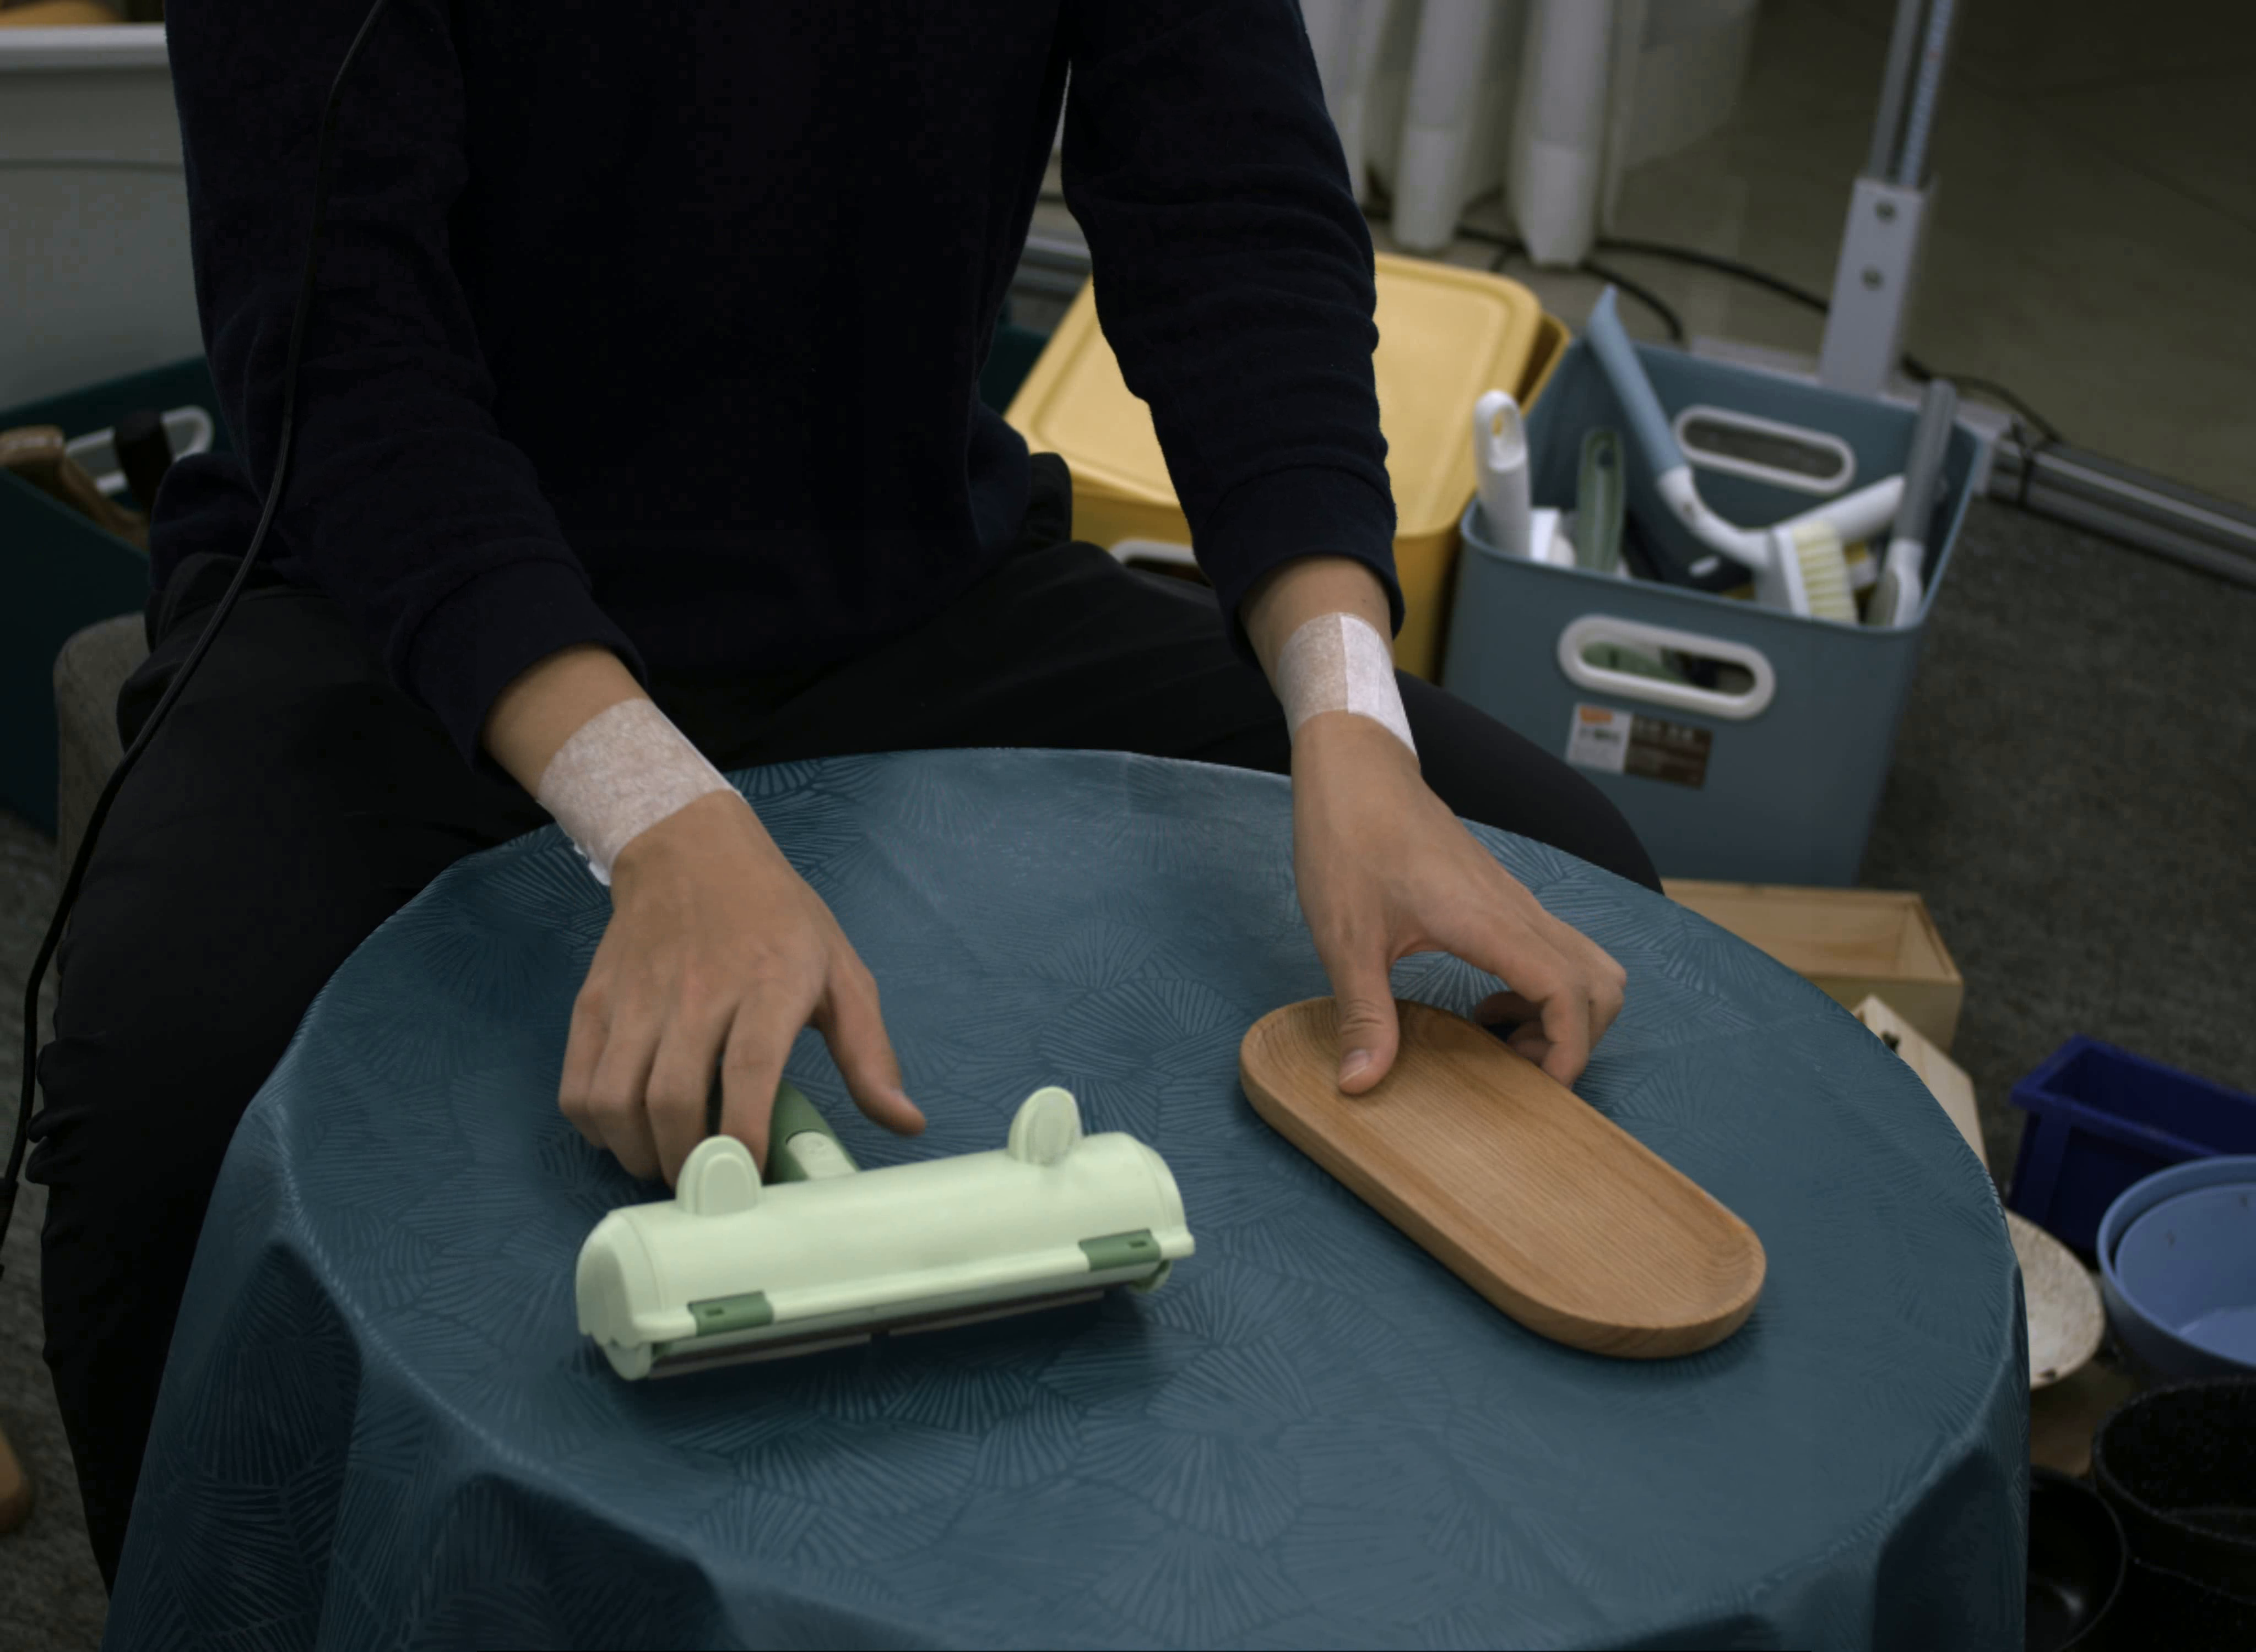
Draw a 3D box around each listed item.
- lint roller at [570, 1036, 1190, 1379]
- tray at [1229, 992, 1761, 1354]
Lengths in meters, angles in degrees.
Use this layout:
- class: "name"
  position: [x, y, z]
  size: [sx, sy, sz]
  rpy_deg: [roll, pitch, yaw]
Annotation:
- class: "lint roller"
  position: [-0.102, 0.100, 1.731]
  size: [0.197, 0.082, 0.185]
  rpy_deg: [-7, 36, -27]
- class: "tray"
  position: [0.123, 0.117, 1.825]
  size: [0.101, 0.020, 0.233]
  rpy_deg: [-13, 31, -33]
